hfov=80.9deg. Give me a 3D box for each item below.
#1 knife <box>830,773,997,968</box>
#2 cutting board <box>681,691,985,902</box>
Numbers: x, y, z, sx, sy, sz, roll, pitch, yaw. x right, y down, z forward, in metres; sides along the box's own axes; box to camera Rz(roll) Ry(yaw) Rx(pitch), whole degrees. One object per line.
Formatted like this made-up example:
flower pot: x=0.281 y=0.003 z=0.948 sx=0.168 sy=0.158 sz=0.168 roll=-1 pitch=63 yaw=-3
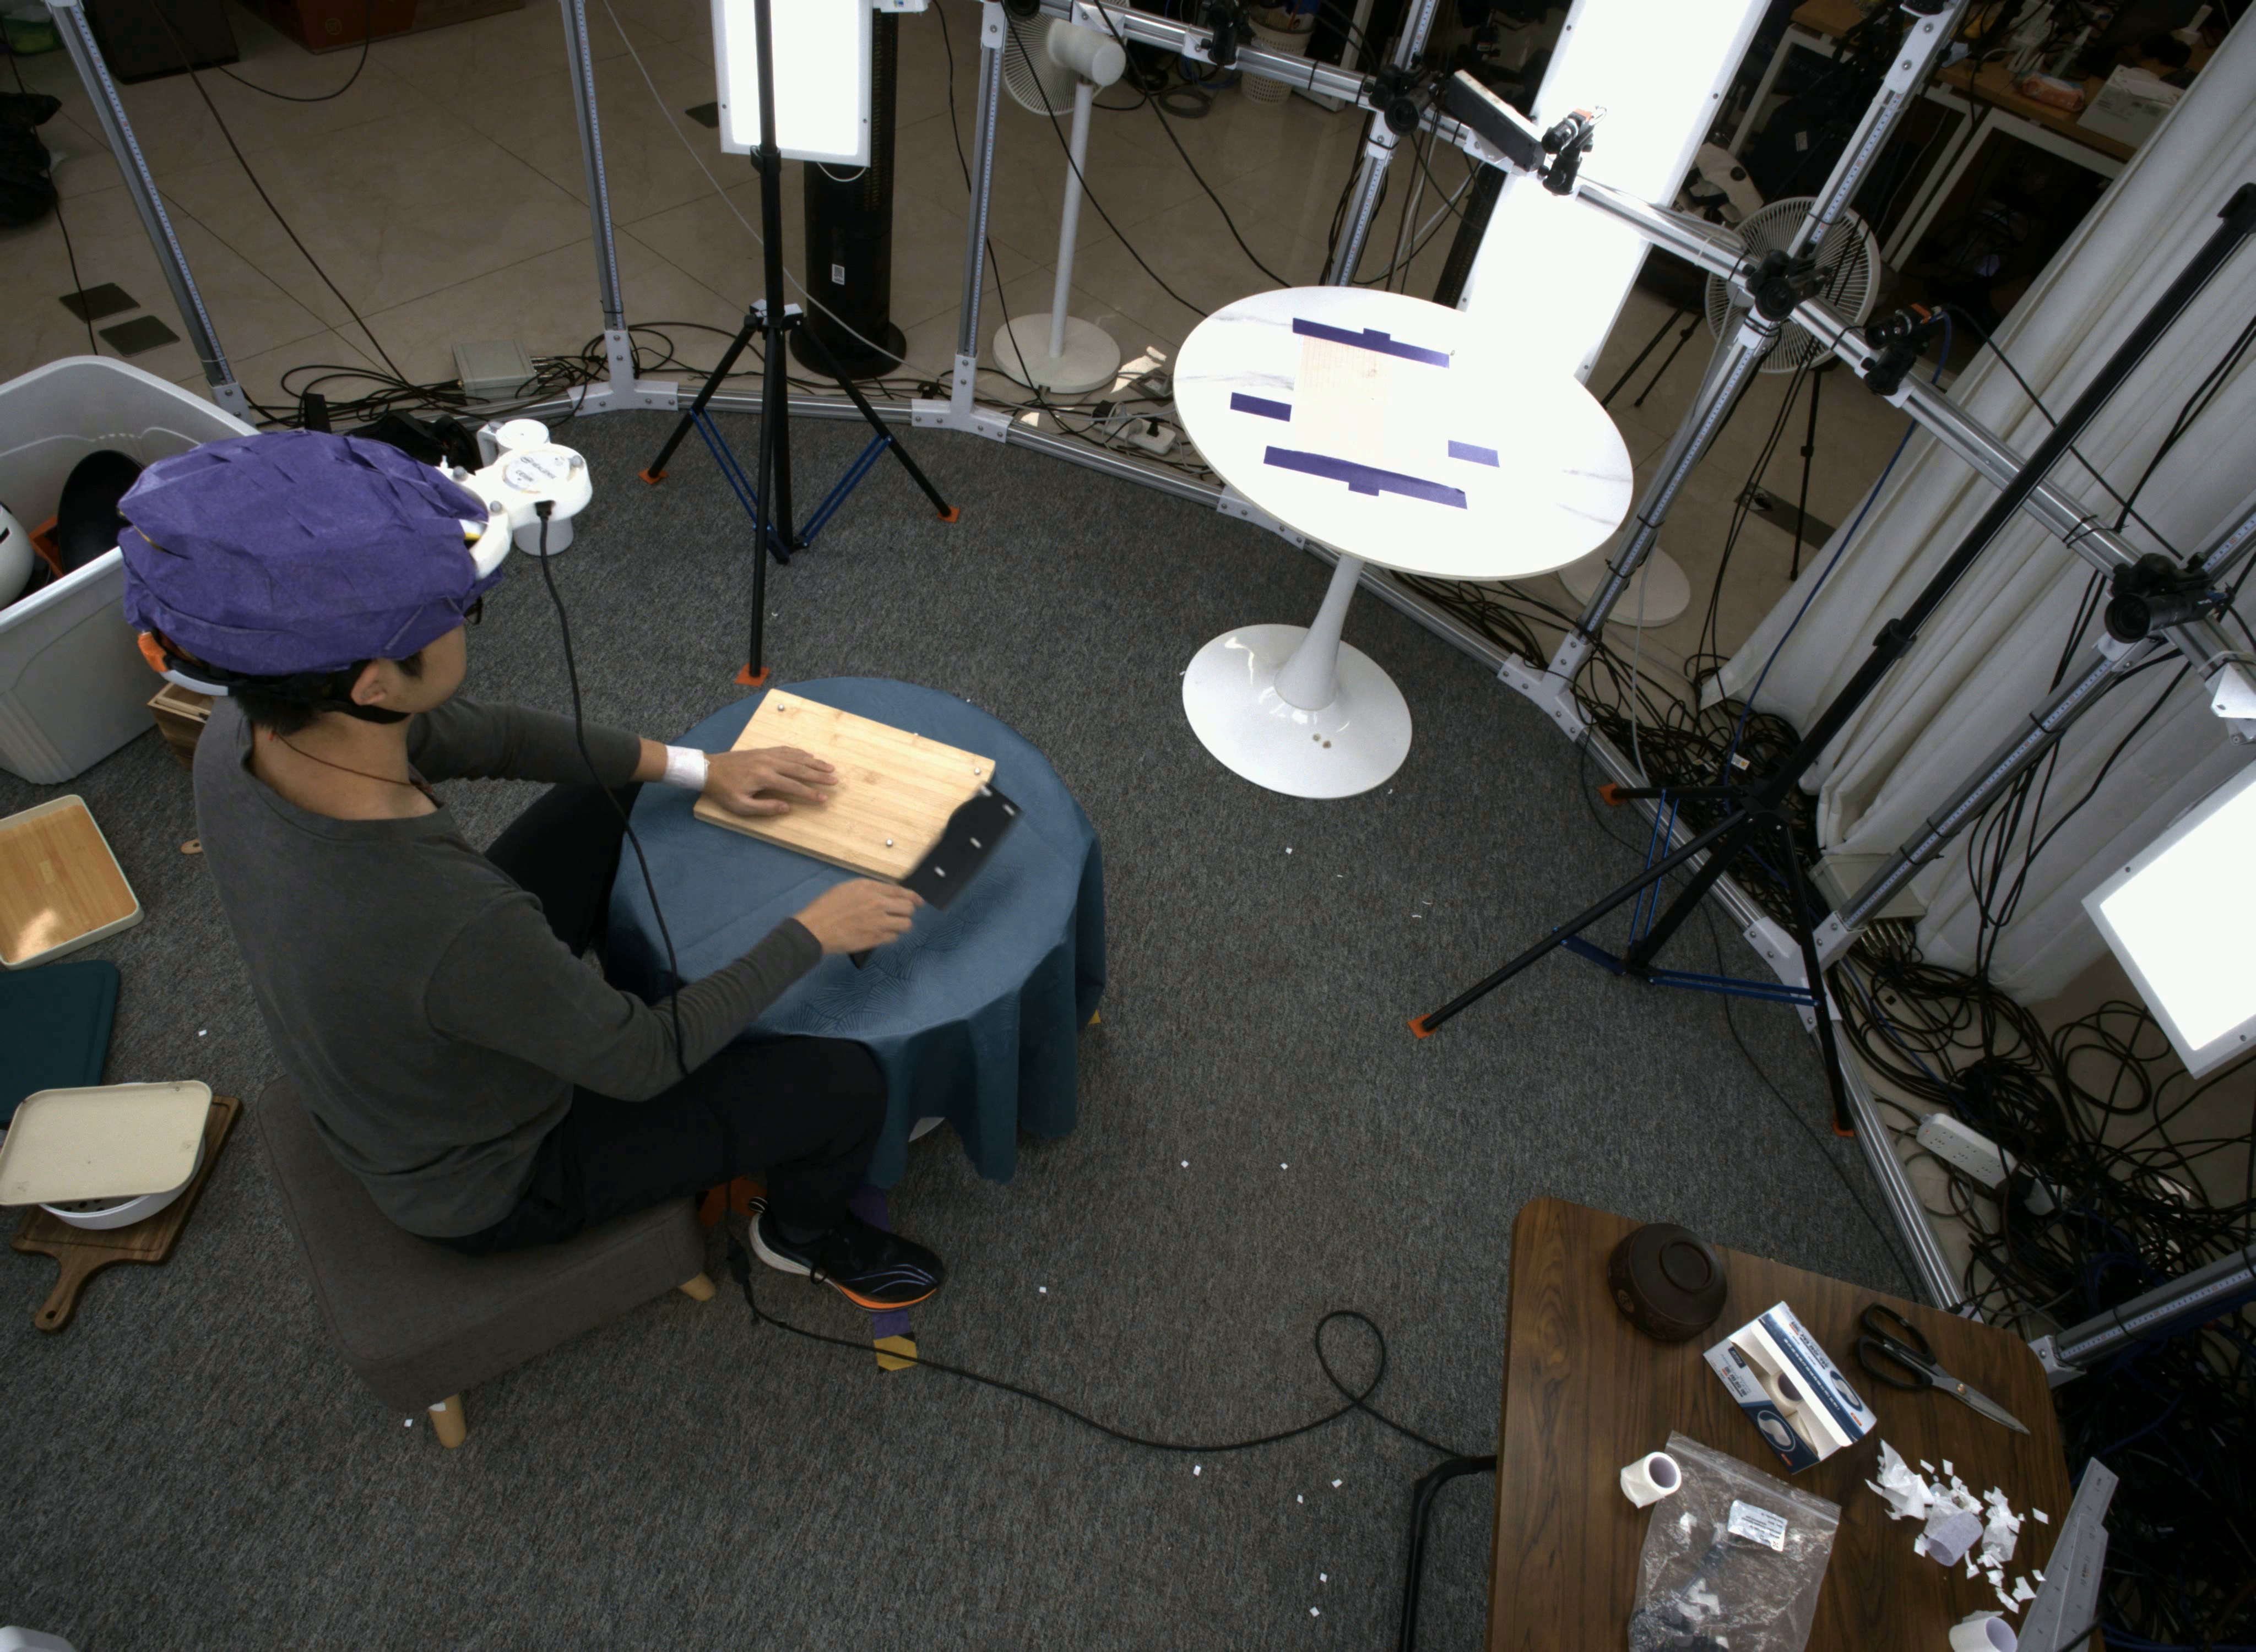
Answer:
knife: x=-0.269 y=0.055 z=1.630 sx=0.081 sy=0.021 sz=0.302 roll=40 pitch=62 yaw=-3
cutting board: x=-0.394 y=-0.047 z=1.767 sx=0.346 sy=0.024 sz=0.248 roll=17 pitch=52 yaw=-1
